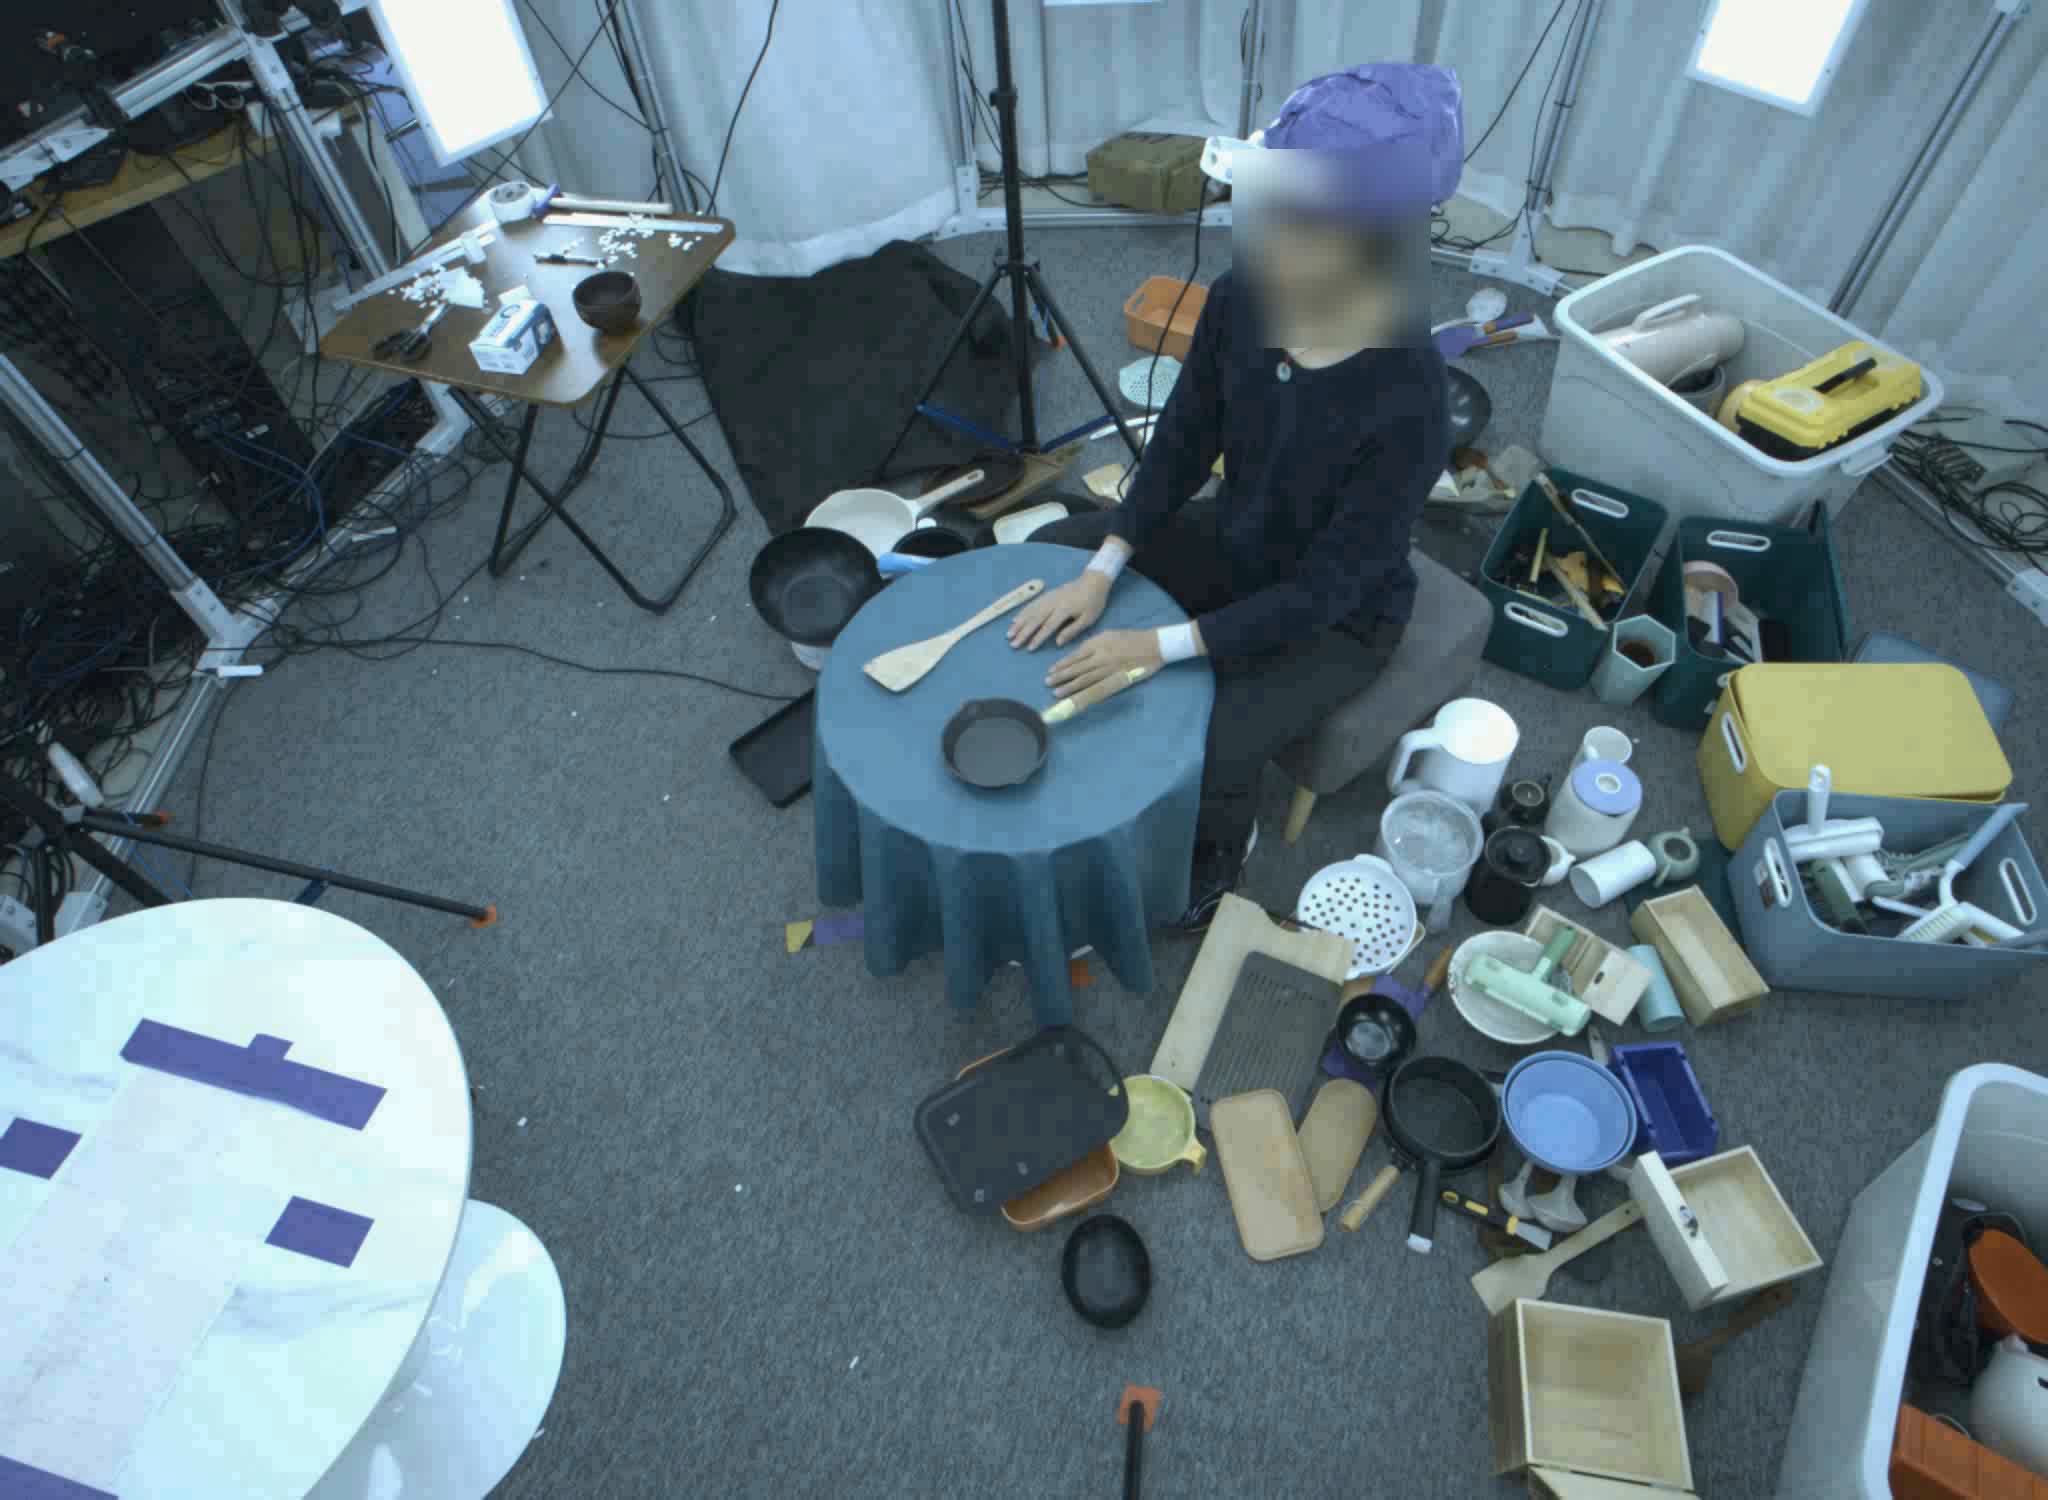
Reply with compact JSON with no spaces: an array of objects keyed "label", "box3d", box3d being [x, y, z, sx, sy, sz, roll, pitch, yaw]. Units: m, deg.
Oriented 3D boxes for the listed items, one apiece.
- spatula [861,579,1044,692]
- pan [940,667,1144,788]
[{"label":"spatula","box3d":[-0.100,-0.186,1.912,0.330,0.017,0.078,-34,61,-20]},{"label":"pan","box3d":[0.034,-0.043,1.785,0.326,0.050,0.166,-24,57,-13]}]
